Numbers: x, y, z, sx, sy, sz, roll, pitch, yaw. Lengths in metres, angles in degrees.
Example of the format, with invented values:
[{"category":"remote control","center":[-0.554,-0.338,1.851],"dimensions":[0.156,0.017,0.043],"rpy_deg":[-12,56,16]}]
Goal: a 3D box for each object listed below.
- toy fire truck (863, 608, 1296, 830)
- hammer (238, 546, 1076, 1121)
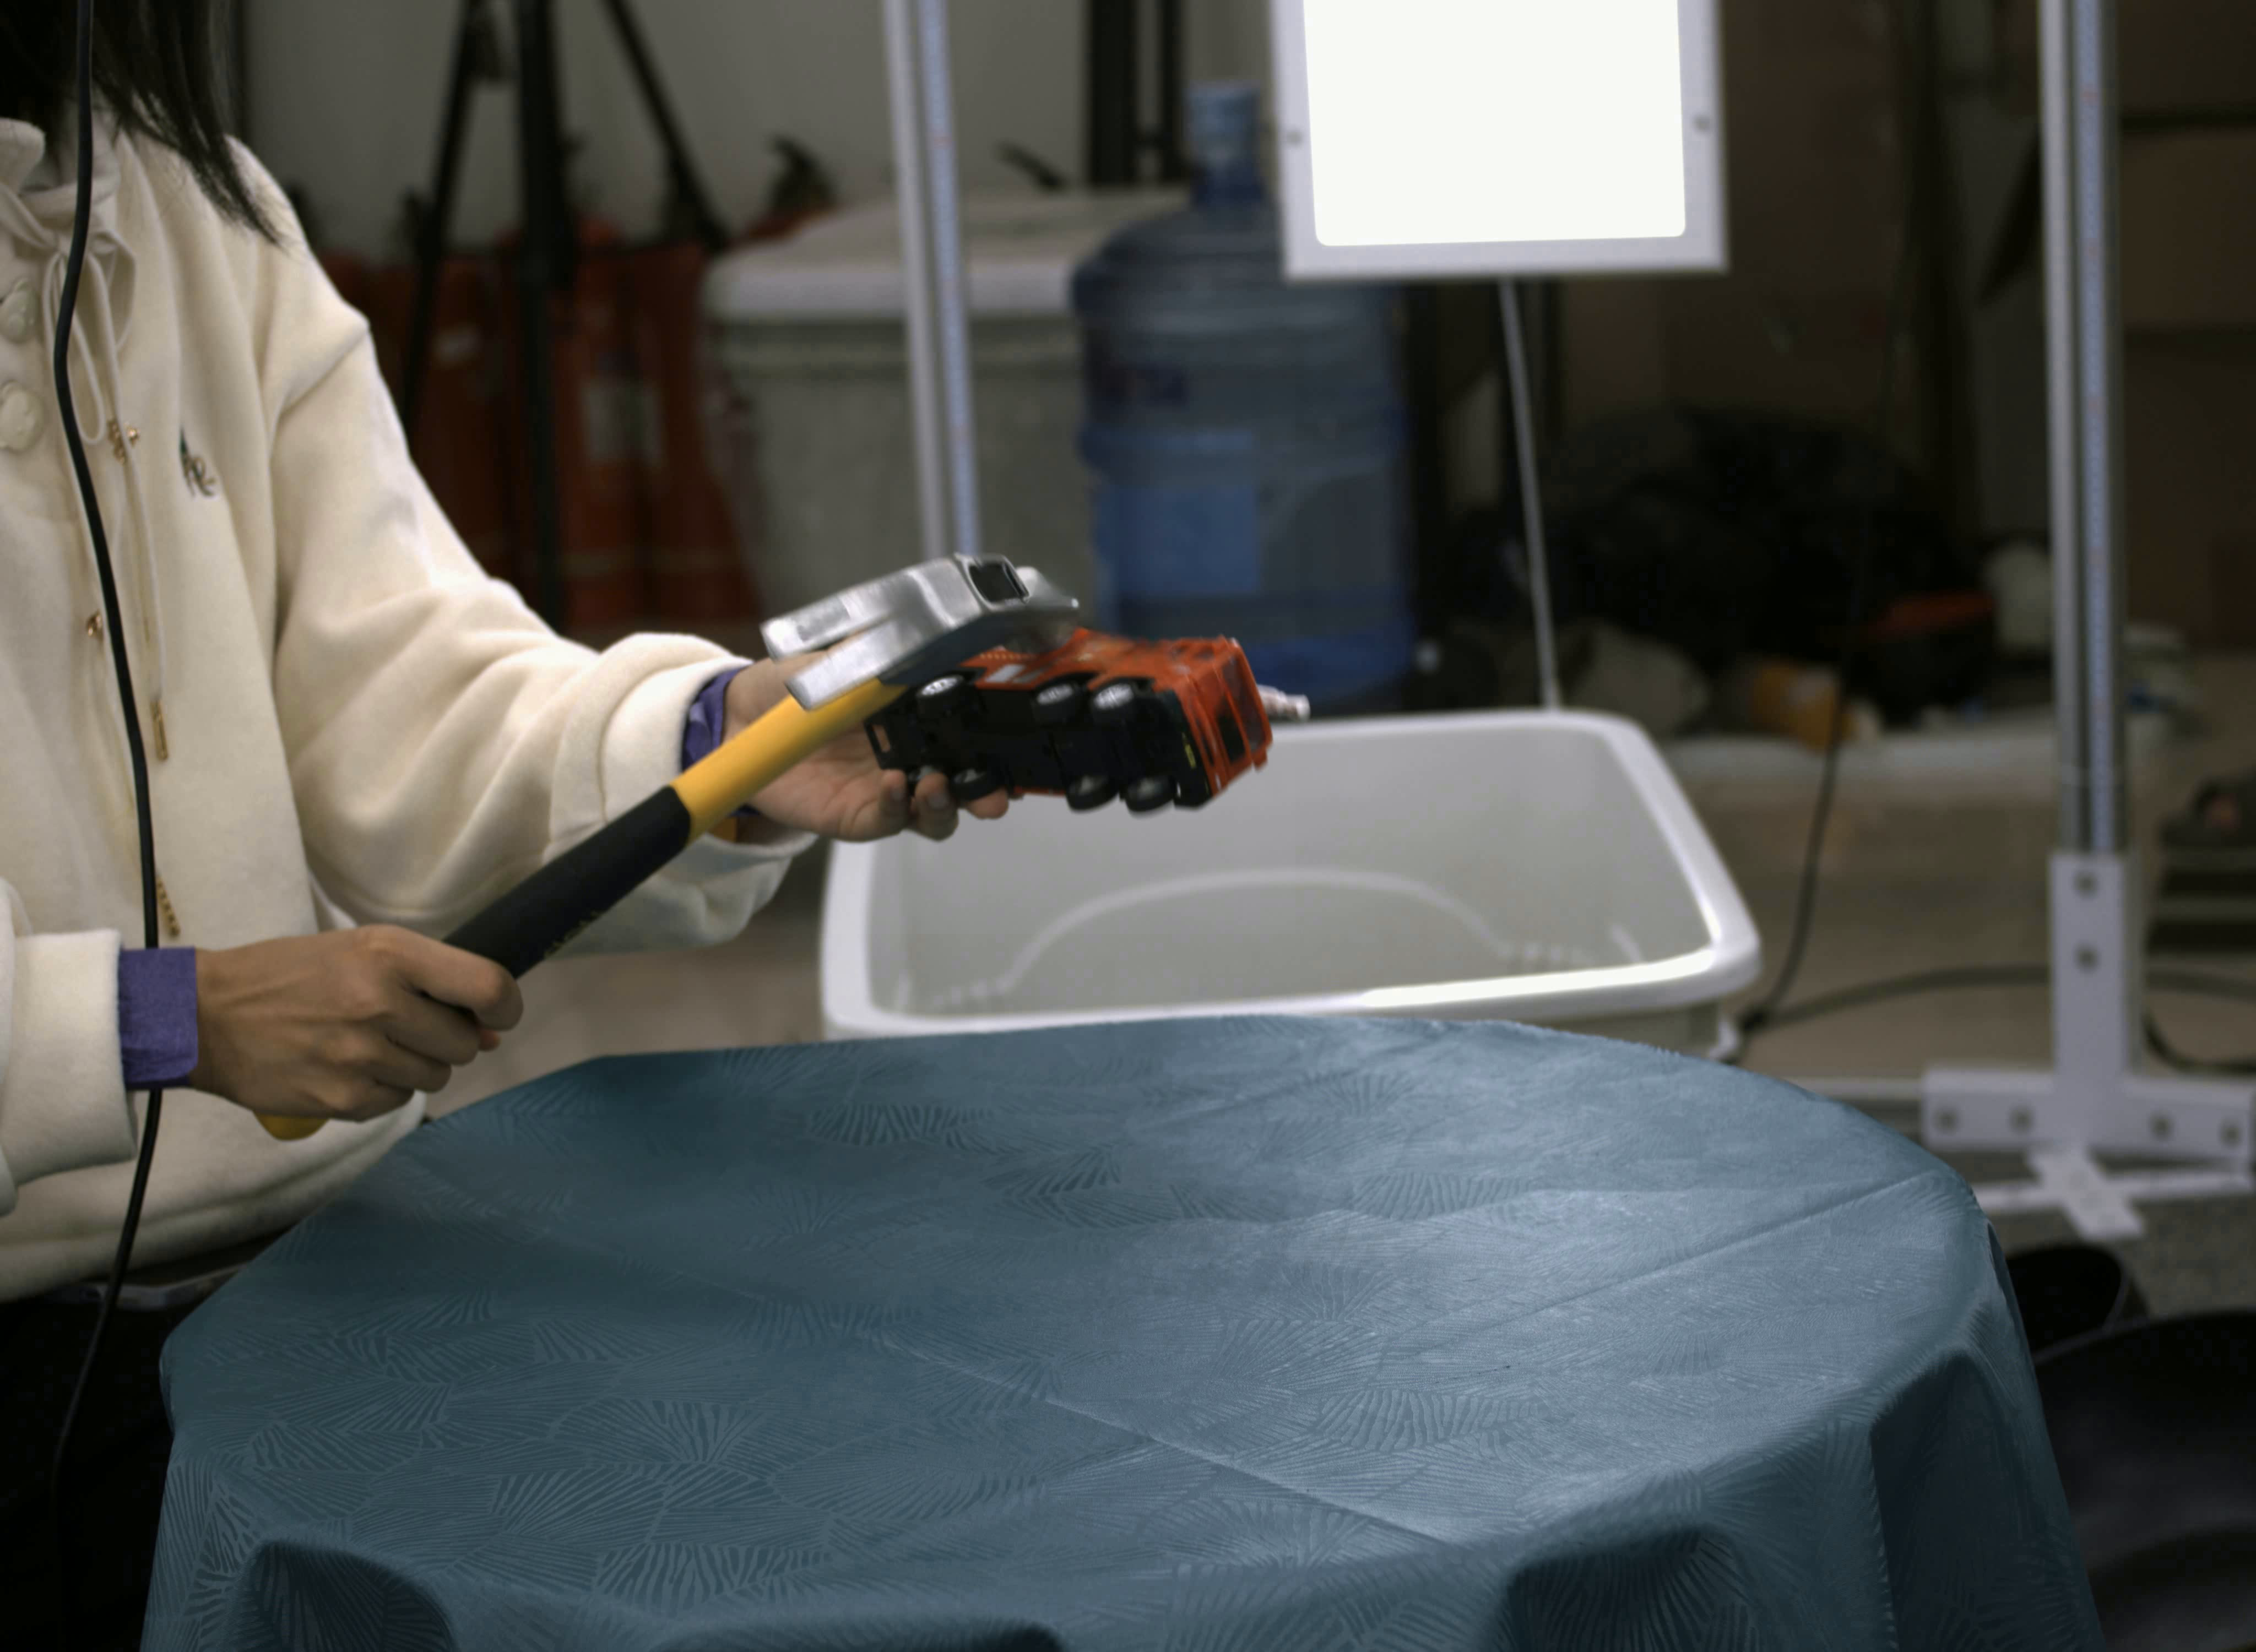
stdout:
[{"category":"toy fire truck","center":[-0.021,-0.040,1.890],"dimensions":[0.172,0.054,0.069],"rpy_deg":[4,32,48]},{"category":"hammer","center":[-0.175,0.004,1.890],"dimensions":[0.343,0.032,0.129],"rpy_deg":[-34,-13,23]}]
